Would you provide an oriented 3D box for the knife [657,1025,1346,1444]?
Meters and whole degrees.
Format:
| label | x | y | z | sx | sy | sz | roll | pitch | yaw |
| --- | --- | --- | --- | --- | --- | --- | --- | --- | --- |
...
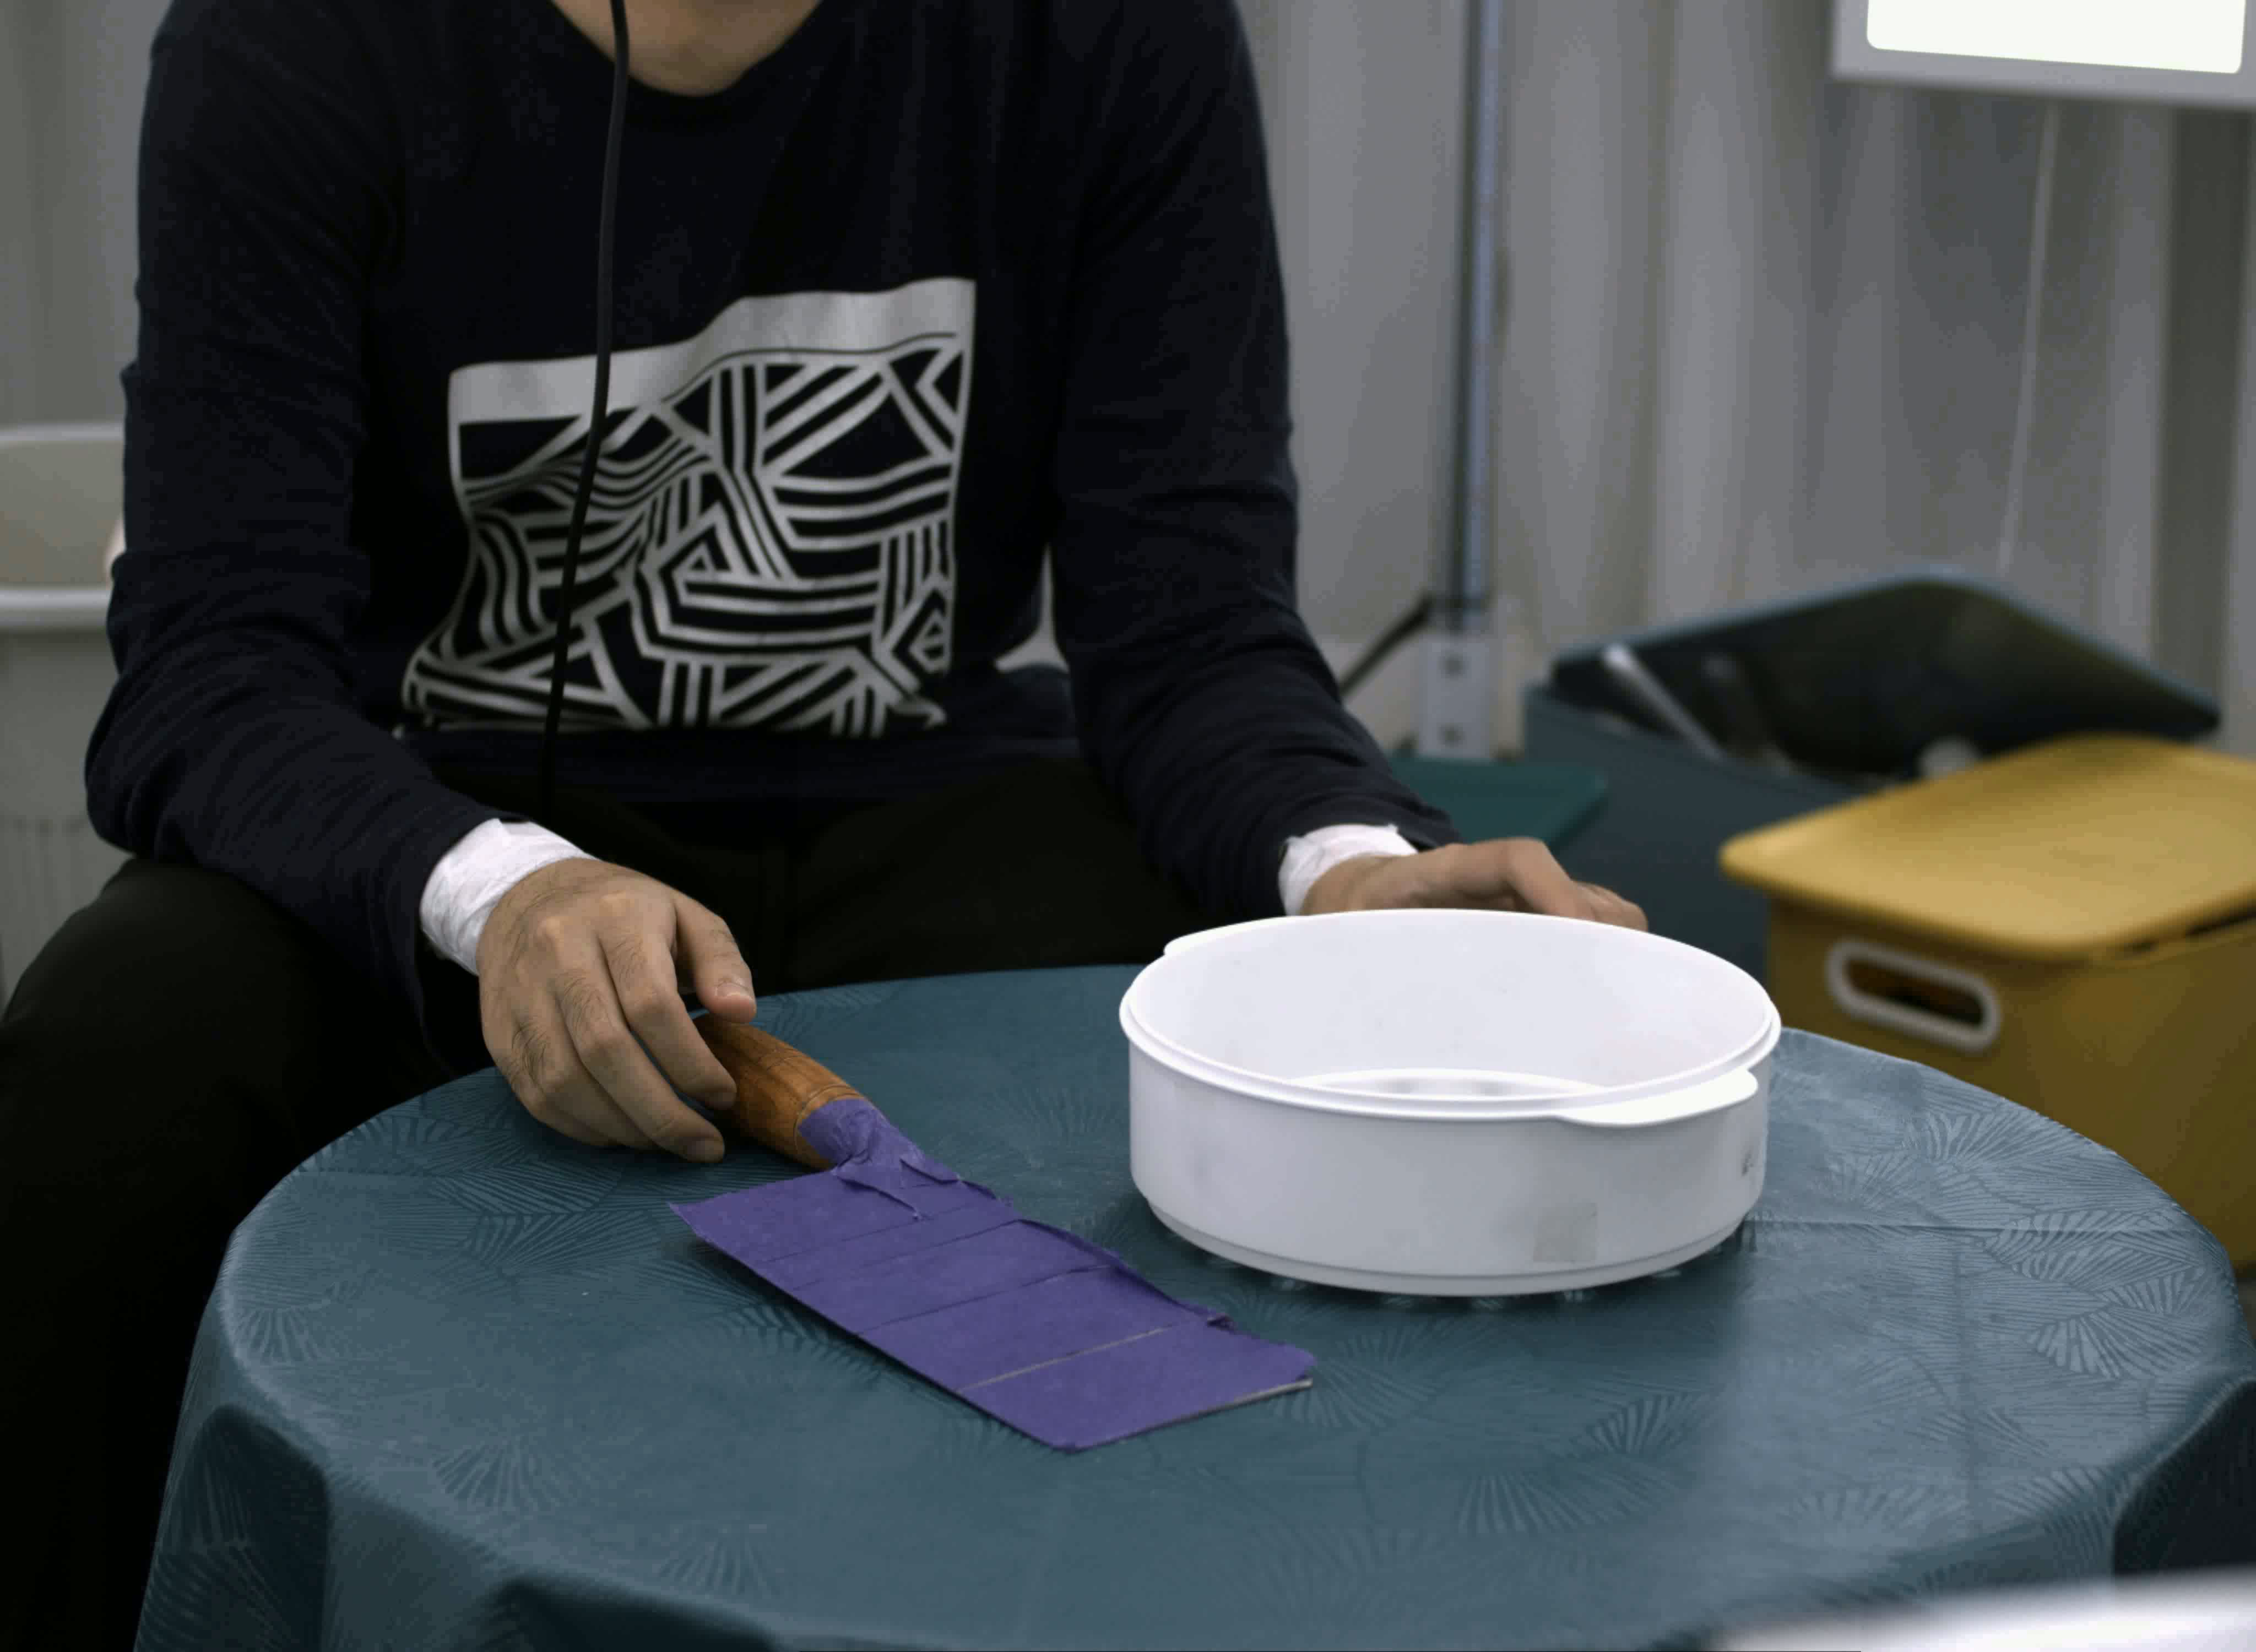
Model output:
| label | x | y | z | sx | sy | sz | roll | pitch | yaw |
| --- | --- | --- | --- | --- | --- | --- | --- | --- | --- |
| knife | -0.071 | 0.117 | 1.555 | 0.104 | 0.032 | 0.311 | -10 | 19 | -36 |

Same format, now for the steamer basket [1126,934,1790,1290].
| label | x | y | z | sx | sy | sz | roll | pitch | yaw |
| --- | --- | --- | --- | --- | --- | --- | --- | --- | --- |
| steamer basket | 0.100 | 0.087 | 1.600 | 0.203 | 0.070 | 0.227 | -9 | 15 | -35 |
